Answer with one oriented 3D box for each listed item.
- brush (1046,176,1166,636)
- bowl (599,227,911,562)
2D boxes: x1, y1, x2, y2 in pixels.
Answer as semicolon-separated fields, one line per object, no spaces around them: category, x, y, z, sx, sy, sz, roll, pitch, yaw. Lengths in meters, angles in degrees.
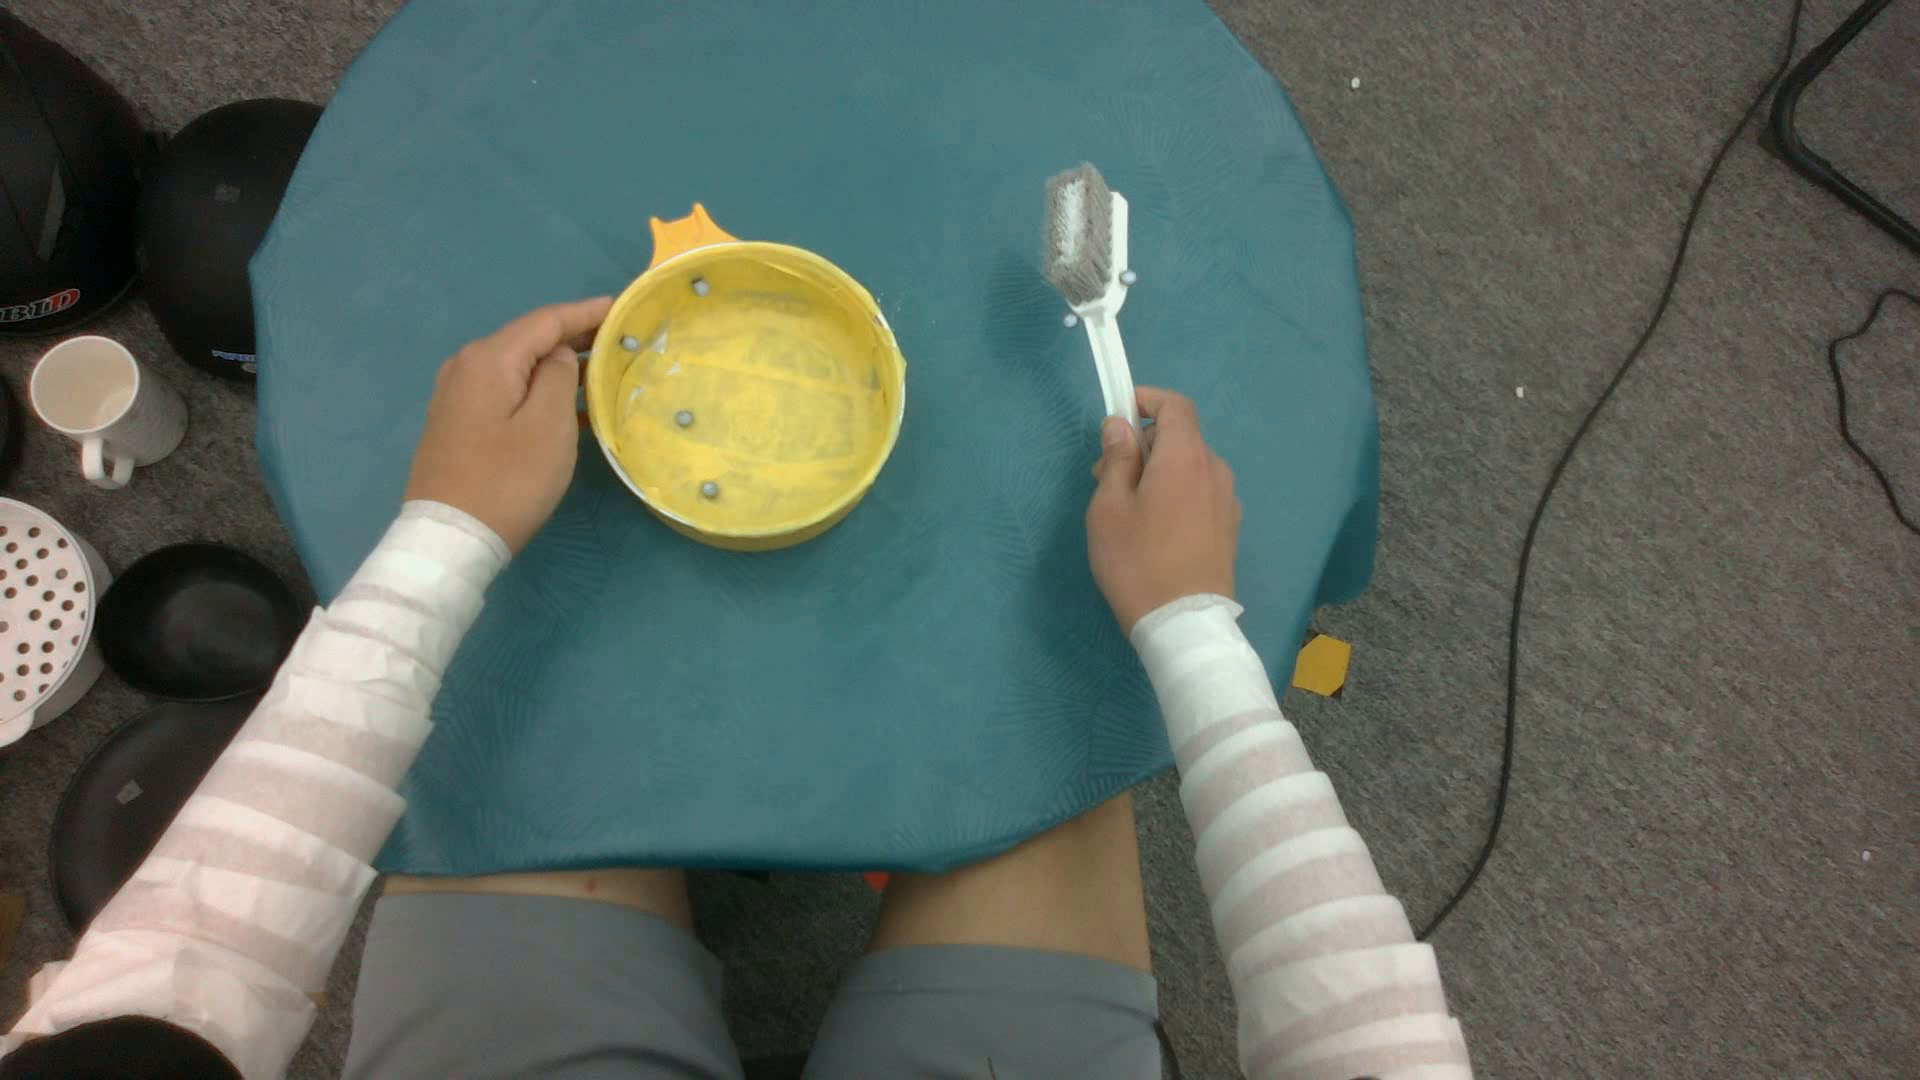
brush;0.076;-0.071;0.723;0.034;0.050;0.244;-10;81;35
bowl;-0.108;-0.075;0.716;0.153;0.074;0.179;-26;78;-8
